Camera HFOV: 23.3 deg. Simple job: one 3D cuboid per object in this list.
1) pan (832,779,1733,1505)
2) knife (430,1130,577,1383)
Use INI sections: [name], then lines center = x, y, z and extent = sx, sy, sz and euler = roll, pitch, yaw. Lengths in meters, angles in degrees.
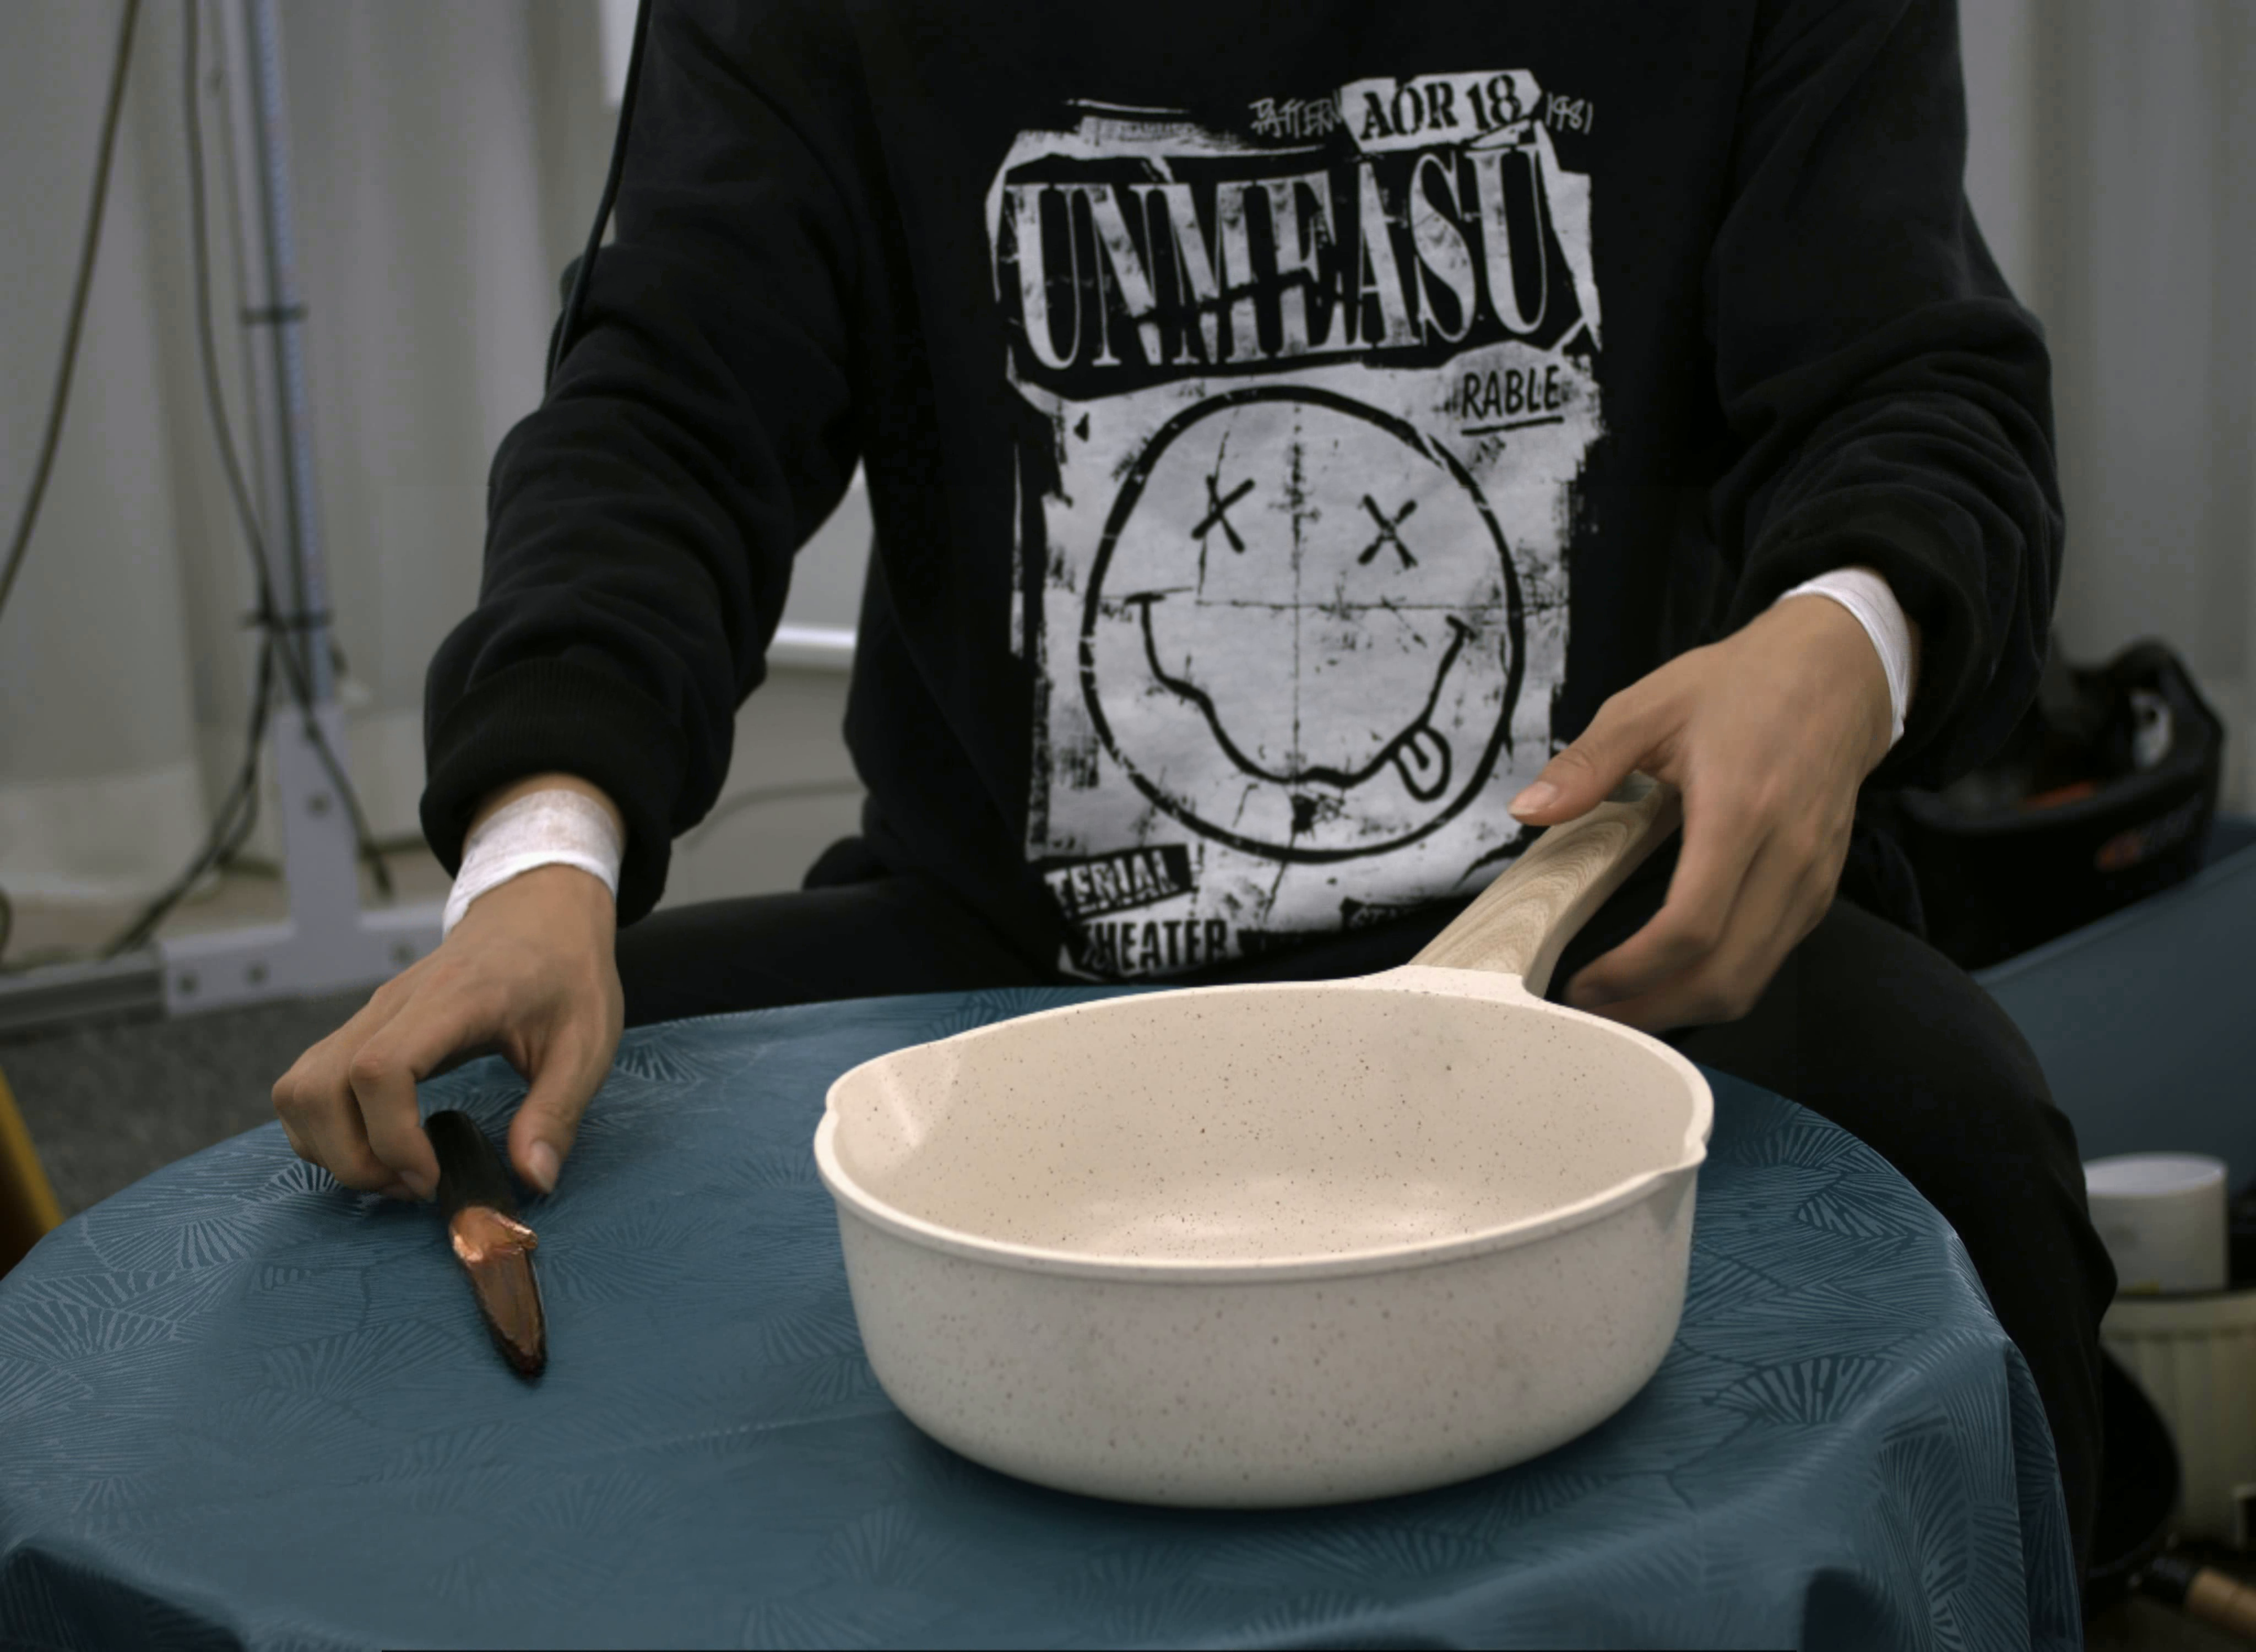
[pan]
center = 0.083, 0.088, 1.608
extent = 0.264, 0.101, 0.436
euler = 3, 16, 26
[knife]
center = -0.192, 0.131, 1.672
extent = 0.026, 0.017, 0.227
euler = 10, 11, -16
